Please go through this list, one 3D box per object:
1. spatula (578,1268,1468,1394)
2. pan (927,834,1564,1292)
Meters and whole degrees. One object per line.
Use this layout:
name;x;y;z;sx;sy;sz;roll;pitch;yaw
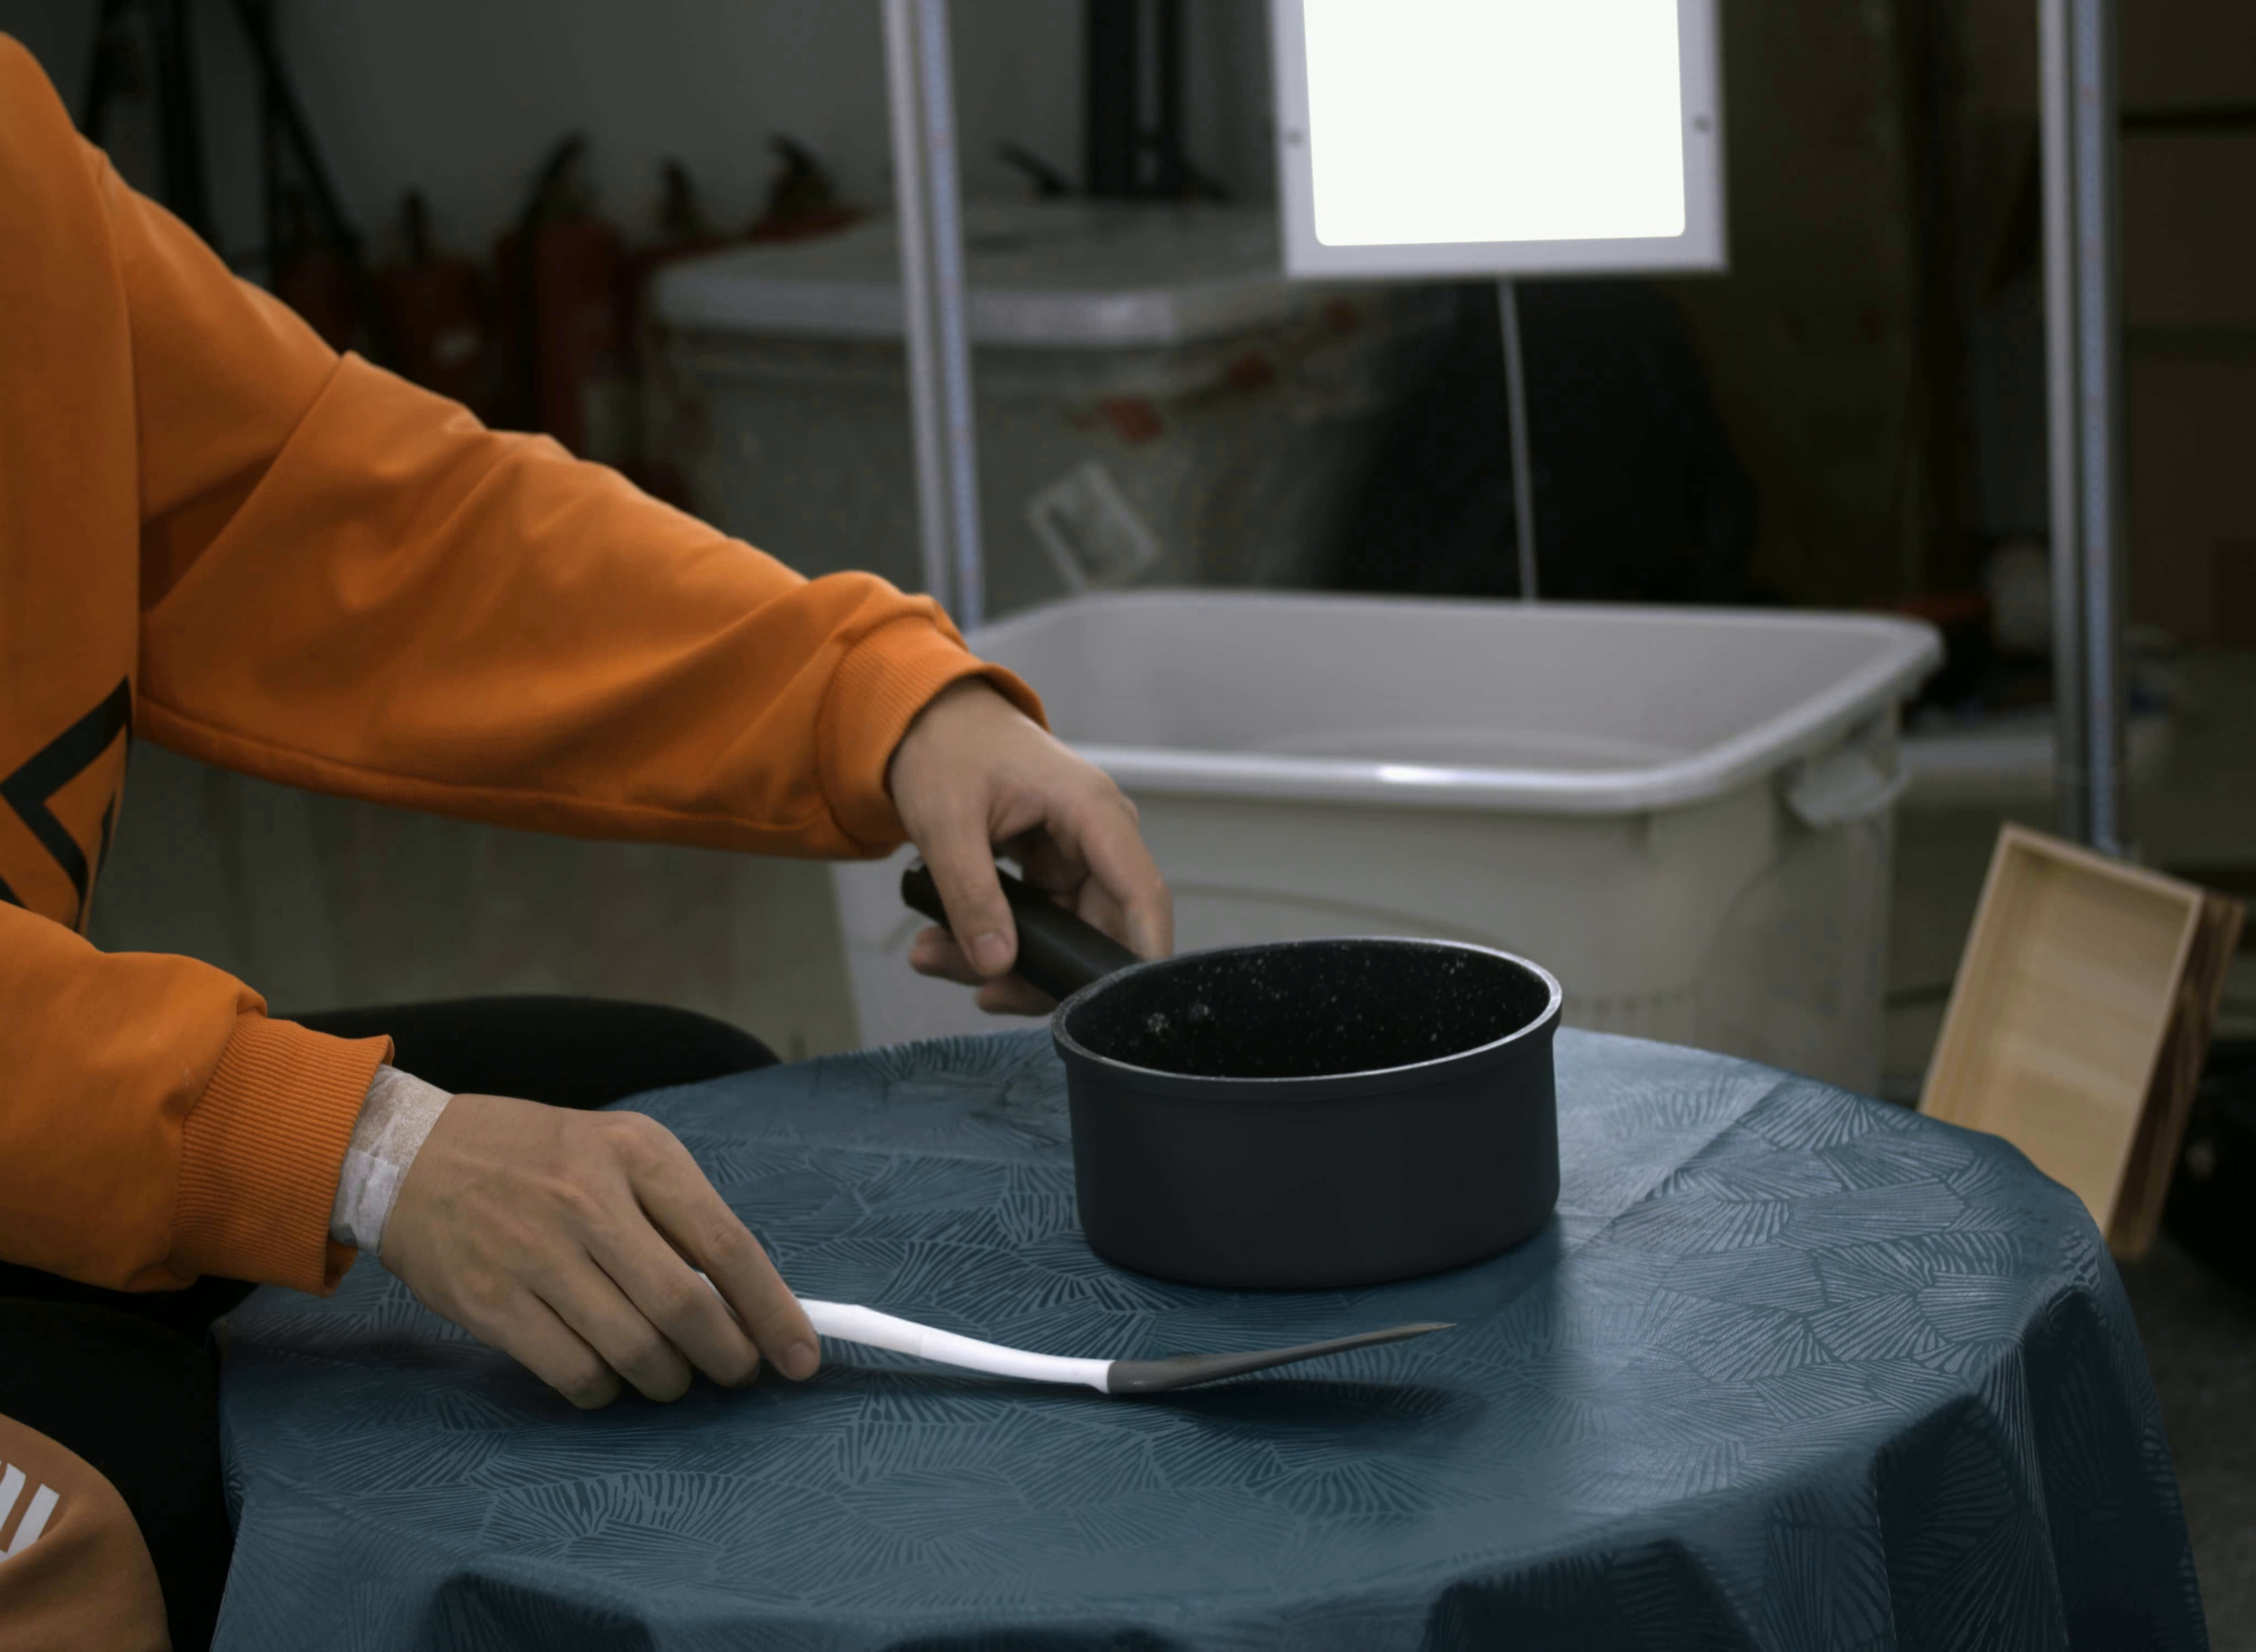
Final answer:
spatula;-0.036;0.158;1.709;0.292;0.032;0.057;0;-6;23
pan;0.021;0.078;1.909;0.168;0.087;0.334;-11;17;-28
